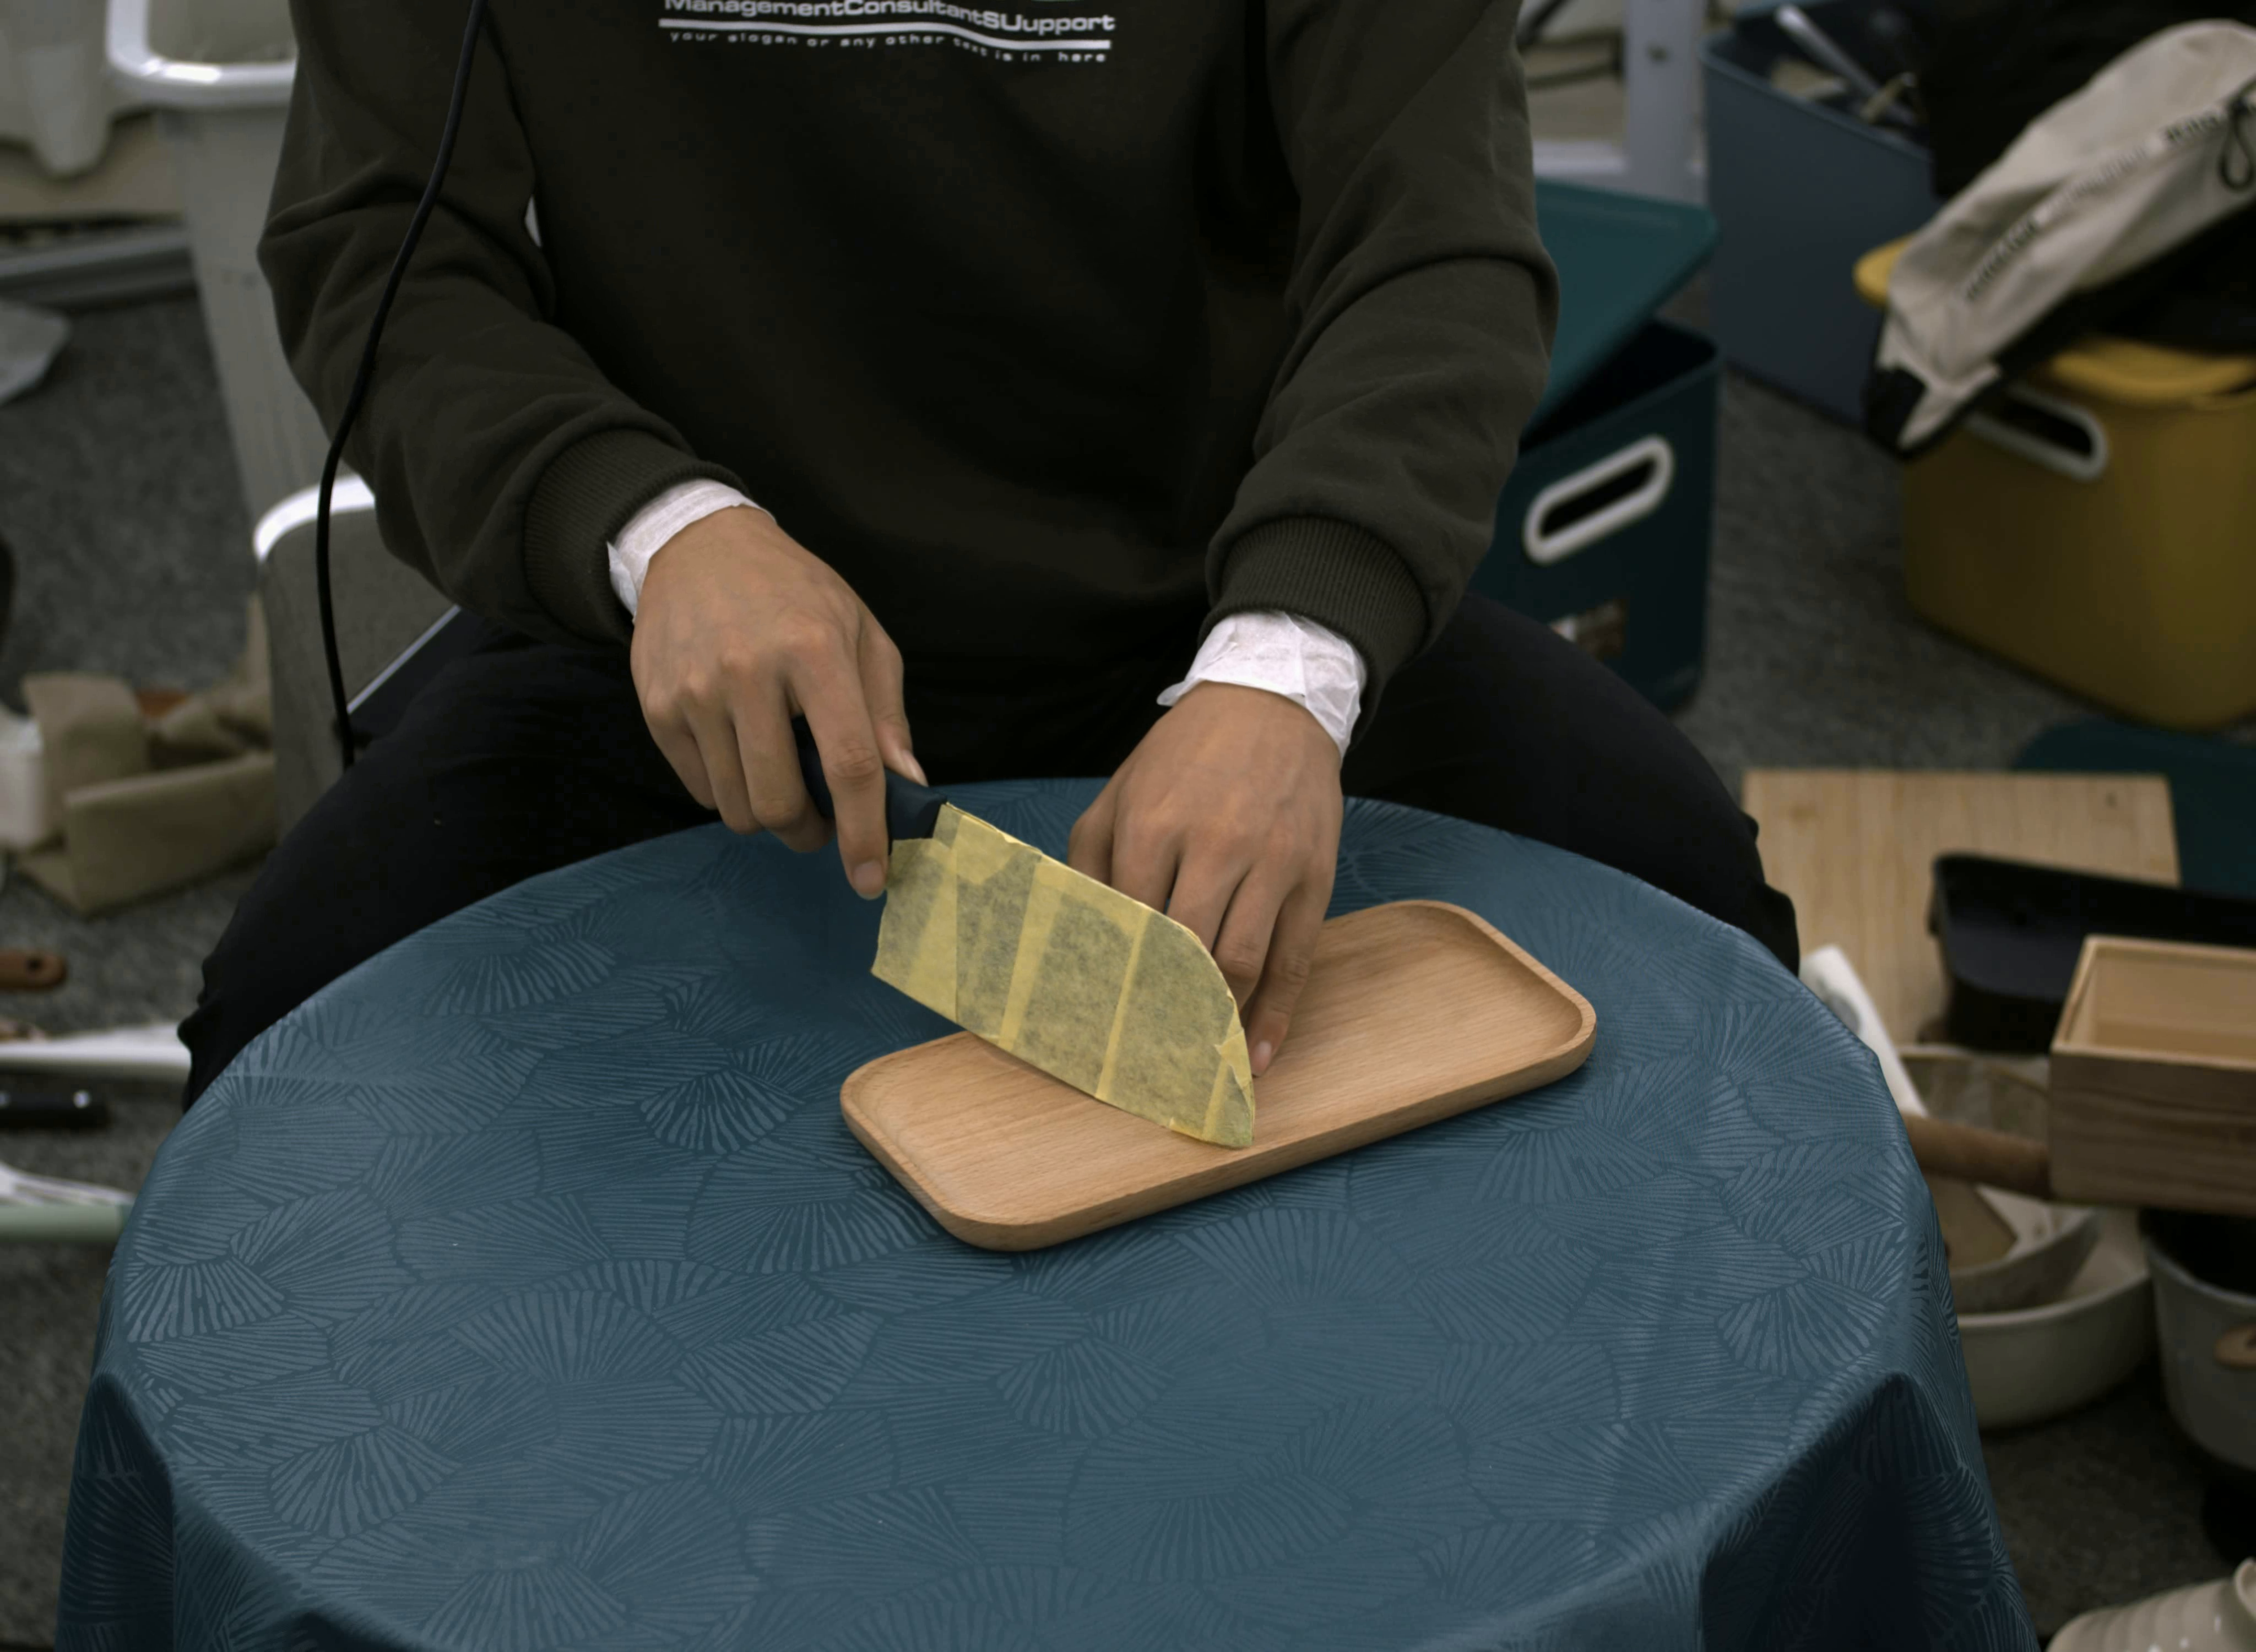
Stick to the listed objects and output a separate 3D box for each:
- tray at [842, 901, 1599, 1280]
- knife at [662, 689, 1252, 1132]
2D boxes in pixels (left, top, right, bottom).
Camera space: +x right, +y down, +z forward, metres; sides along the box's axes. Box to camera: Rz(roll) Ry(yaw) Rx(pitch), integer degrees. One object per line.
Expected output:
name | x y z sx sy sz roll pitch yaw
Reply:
tray | 0.032 0.089 1.914 0.252 0.022 0.131 -19 28 -23
knife | -0.062 0.027 1.936 0.290 0.080 0.027 31 21 34
